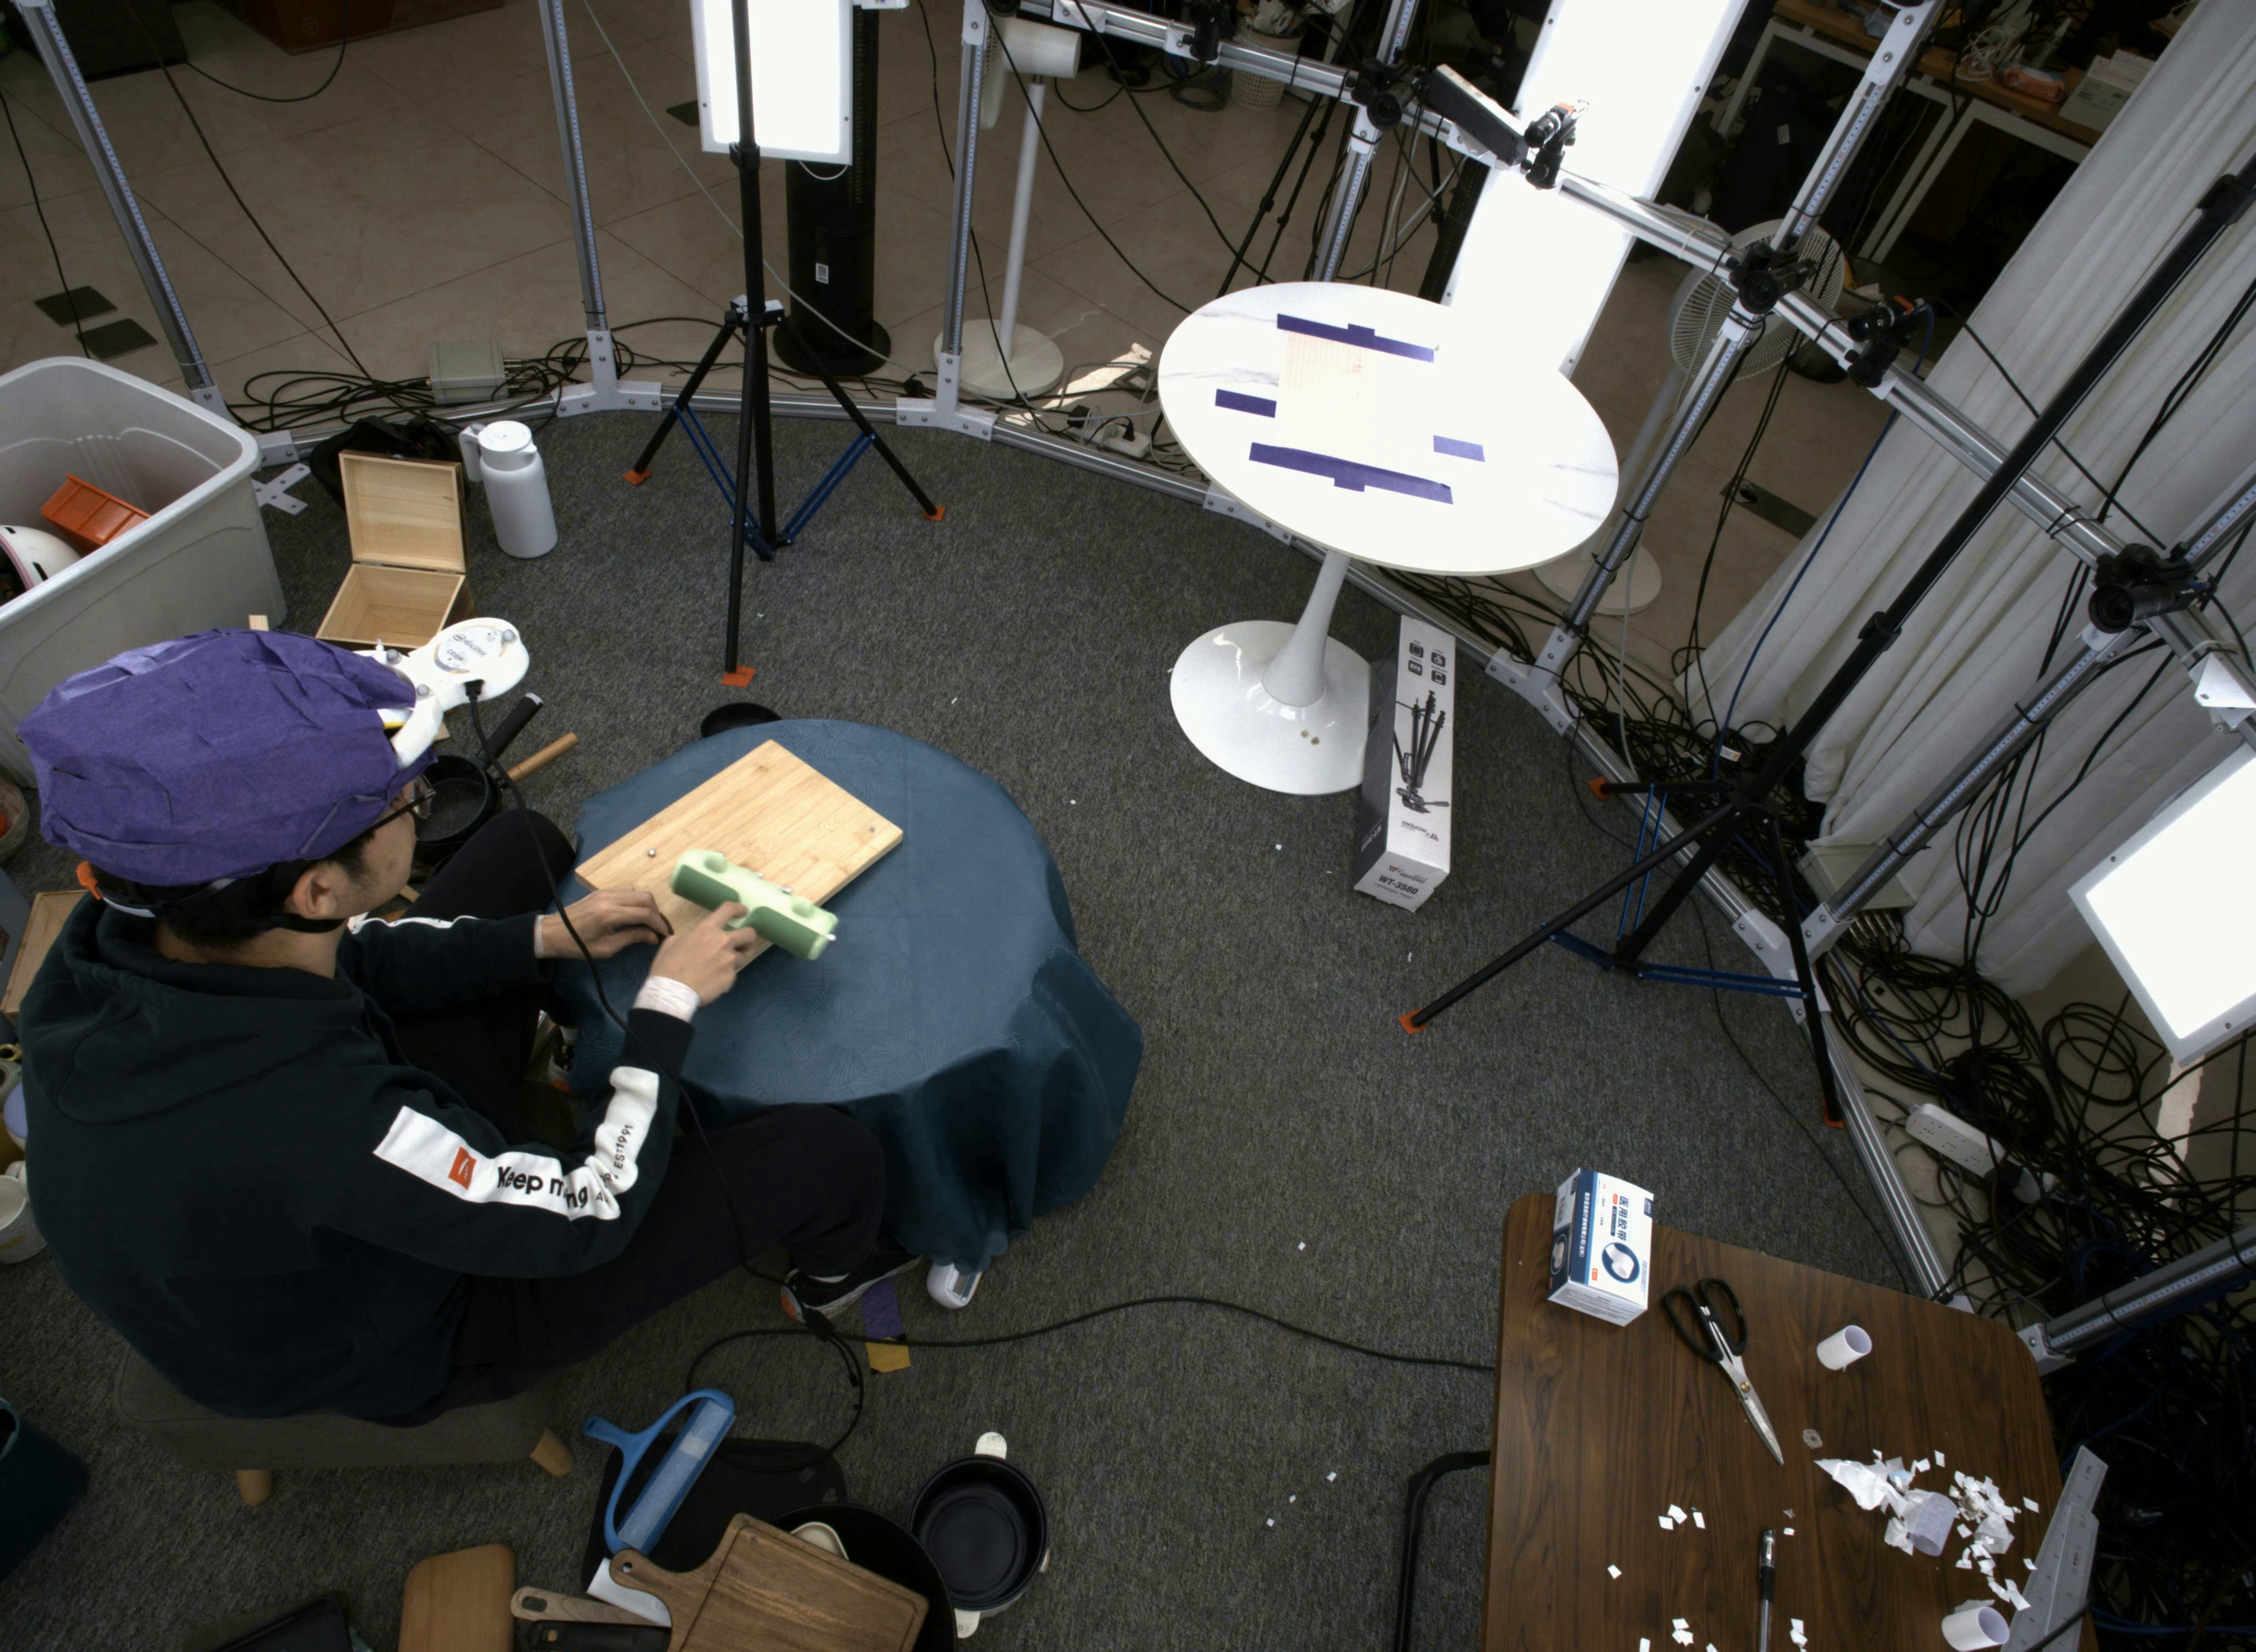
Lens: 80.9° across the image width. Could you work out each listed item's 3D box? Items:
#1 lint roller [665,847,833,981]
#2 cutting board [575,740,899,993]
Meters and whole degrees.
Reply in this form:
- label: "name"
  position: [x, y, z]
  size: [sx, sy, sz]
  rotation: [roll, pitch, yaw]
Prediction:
- label: "lint roller"
  position: [-0.456, 0.103, 1.484]
  size: [0.198, 0.083, 0.181]
  rotation: [28, 24, -4]
- label: "cutting board"
  position: [-0.492, 0.038, 1.646]
  size: [0.246, 0.024, 0.348]
  rotation: [33, 46, 11]
